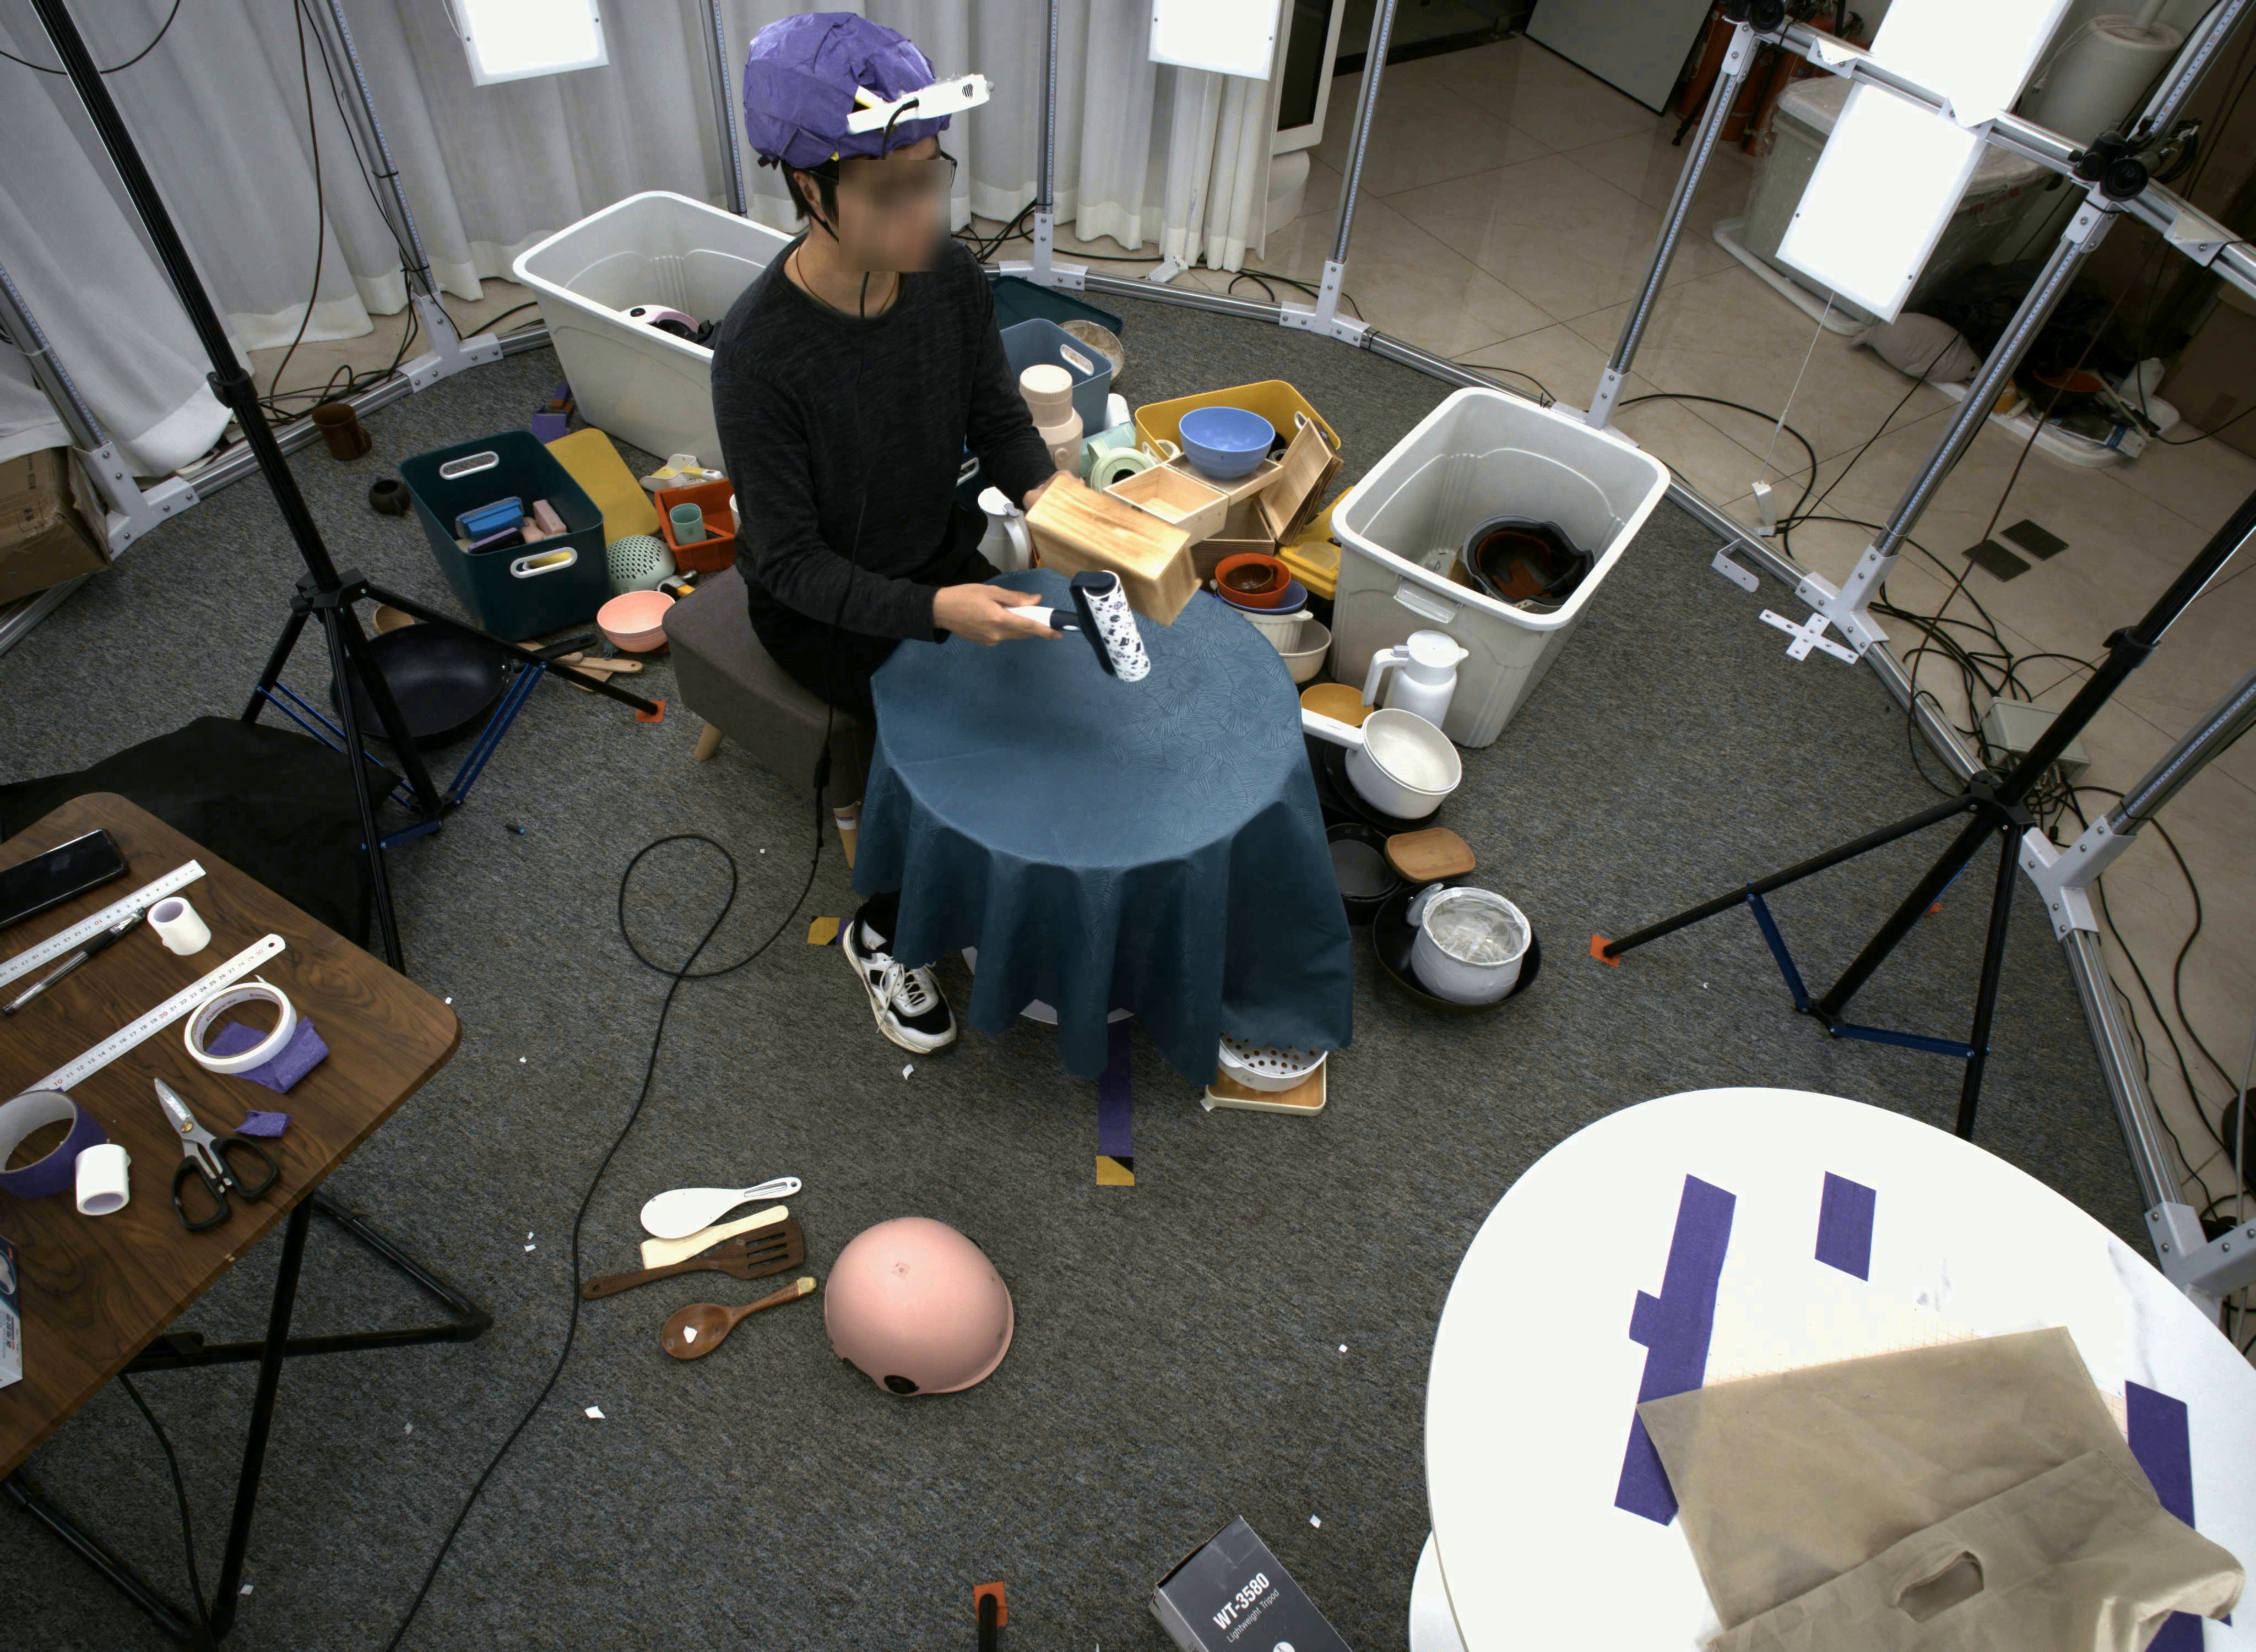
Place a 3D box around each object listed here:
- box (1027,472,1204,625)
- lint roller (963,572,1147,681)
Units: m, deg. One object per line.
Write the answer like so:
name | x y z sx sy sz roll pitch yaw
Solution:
box | -0.016 -0.360 1.666 0.214 0.105 0.081 29 73 23
lint roller | -0.107 -0.264 1.669 0.248 0.172 0.051 8 59 24
